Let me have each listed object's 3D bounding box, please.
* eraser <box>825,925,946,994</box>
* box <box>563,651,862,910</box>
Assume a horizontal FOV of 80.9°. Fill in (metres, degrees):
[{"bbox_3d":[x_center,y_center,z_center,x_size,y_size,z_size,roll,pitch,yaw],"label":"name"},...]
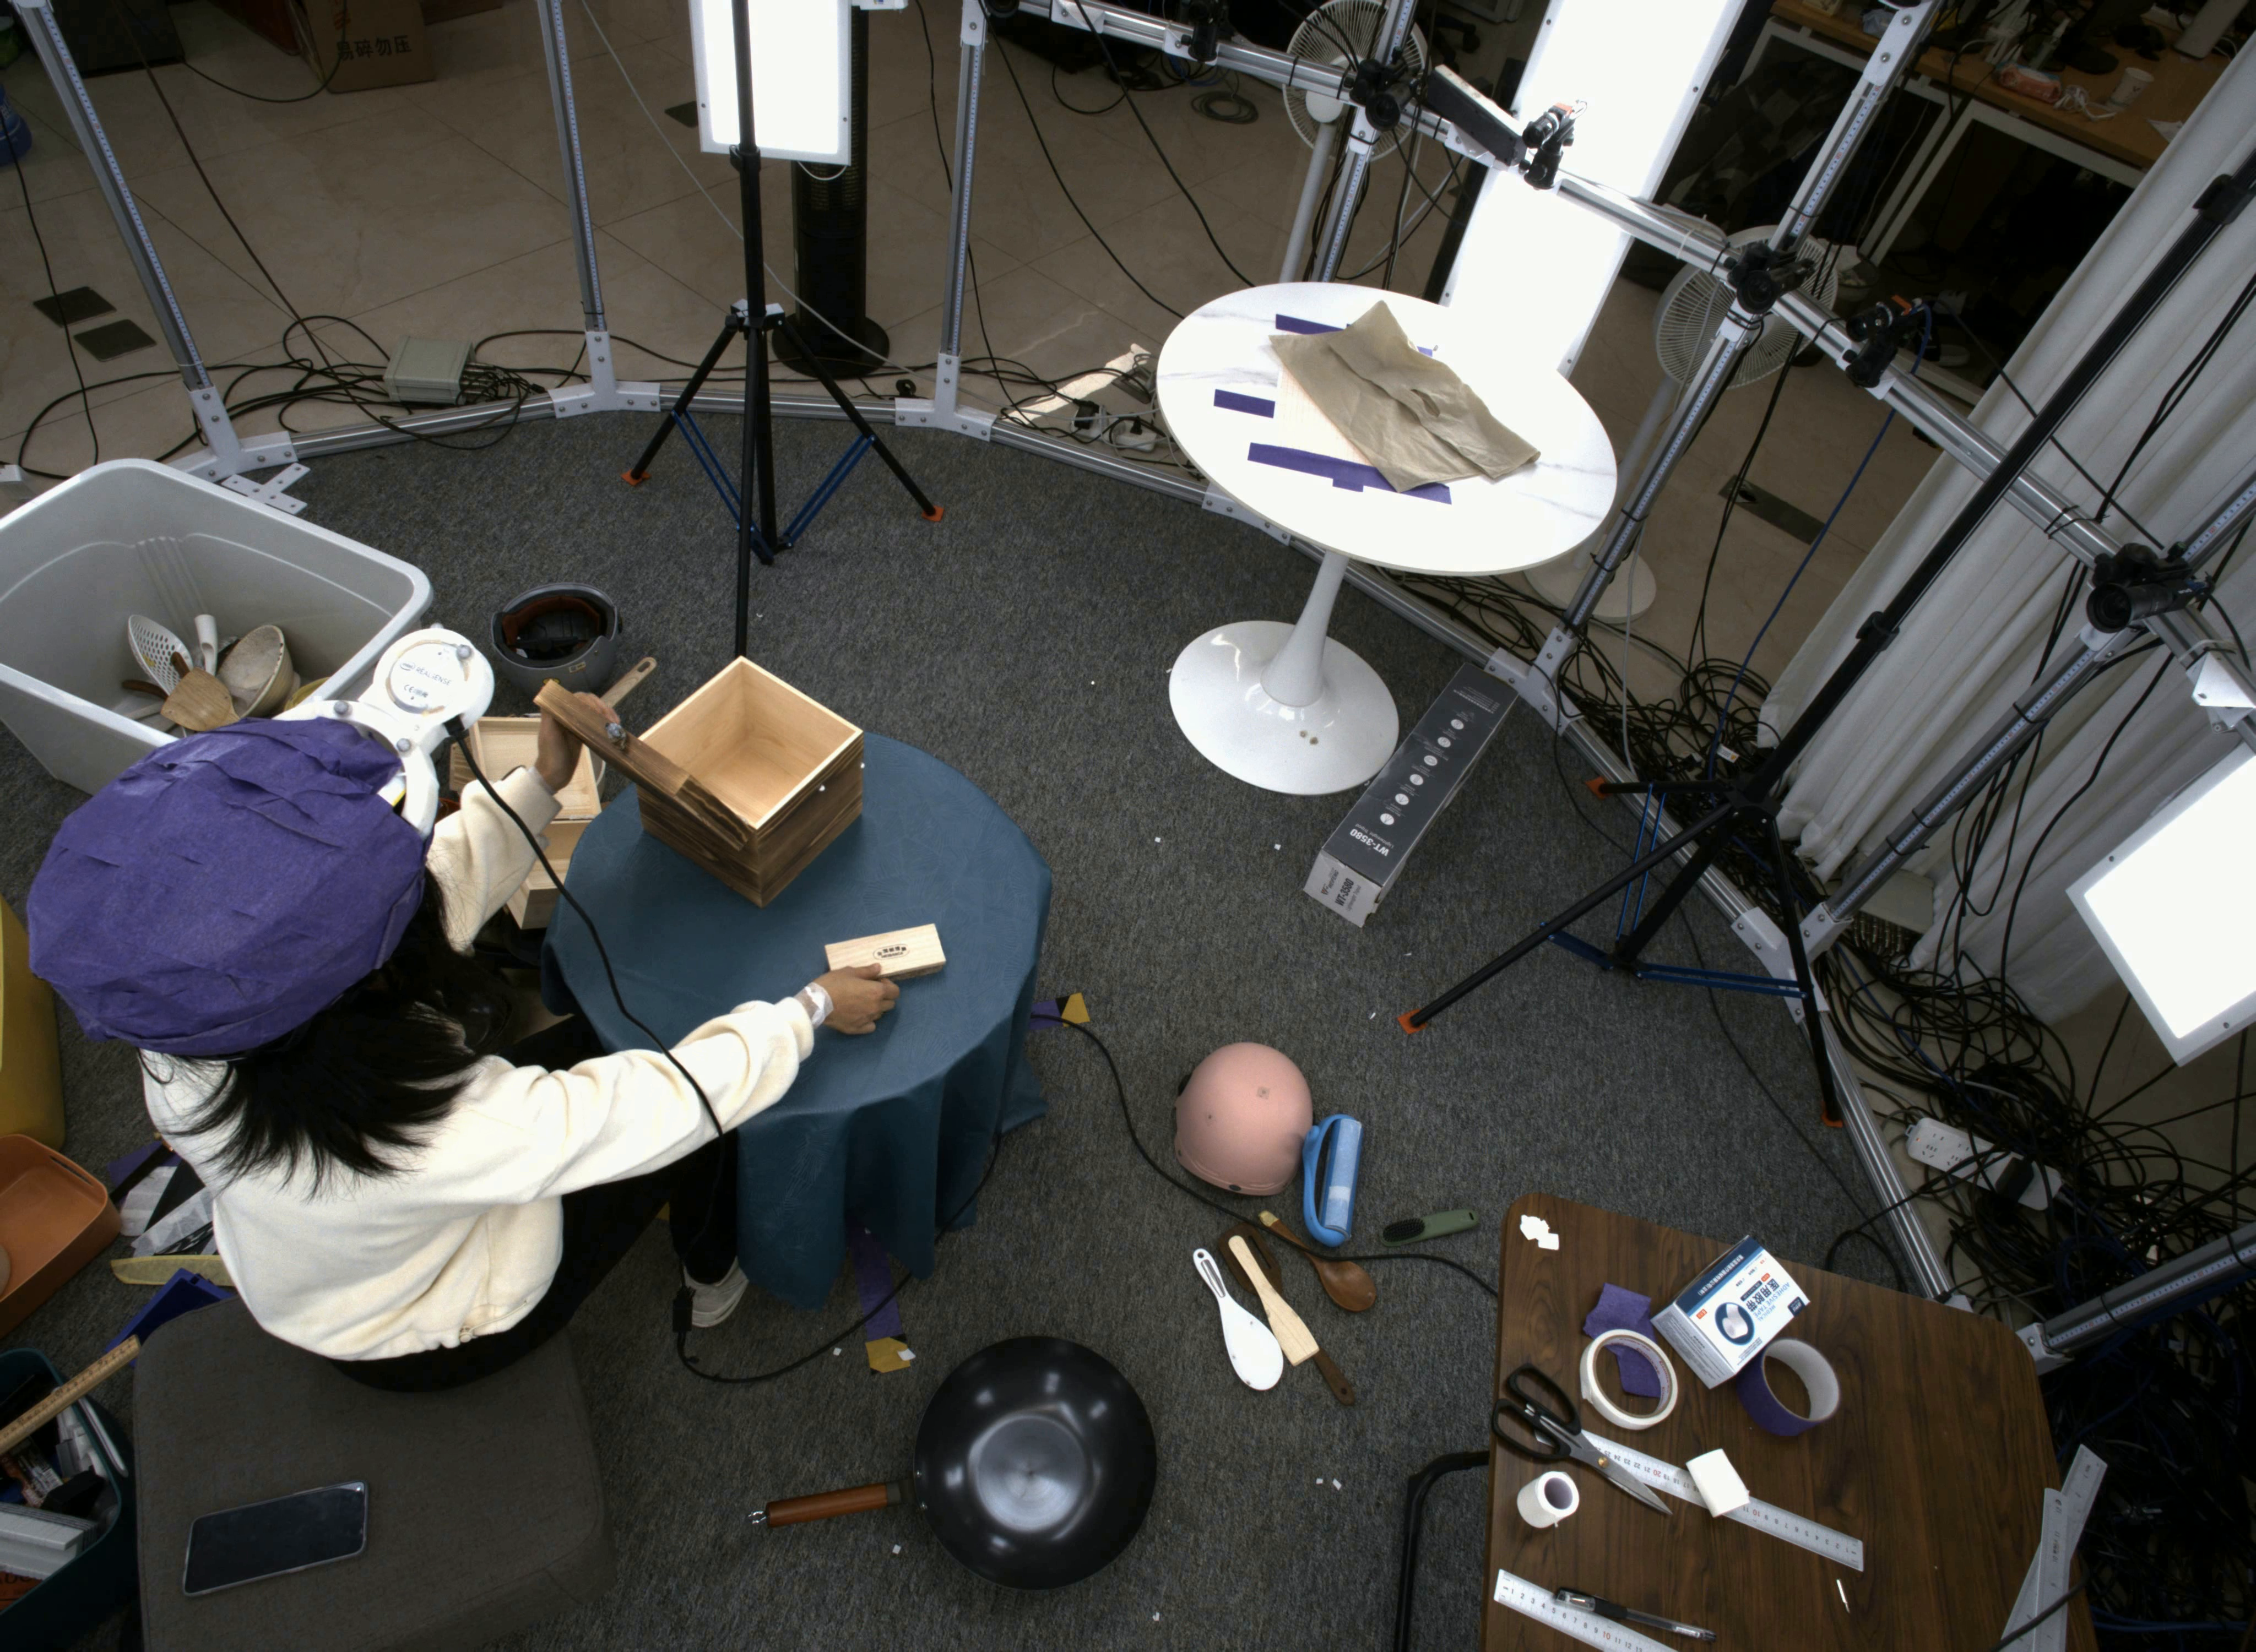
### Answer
[{"bbox_3d":[-0.300,0.163,1.611,0.140,0.029,0.056,-11,59,-21],"label":"eraser"},{"bbox_3d":[-0.489,-0.088,1.532,0.205,0.383,0.321,30,52,11],"label":"box"}]
